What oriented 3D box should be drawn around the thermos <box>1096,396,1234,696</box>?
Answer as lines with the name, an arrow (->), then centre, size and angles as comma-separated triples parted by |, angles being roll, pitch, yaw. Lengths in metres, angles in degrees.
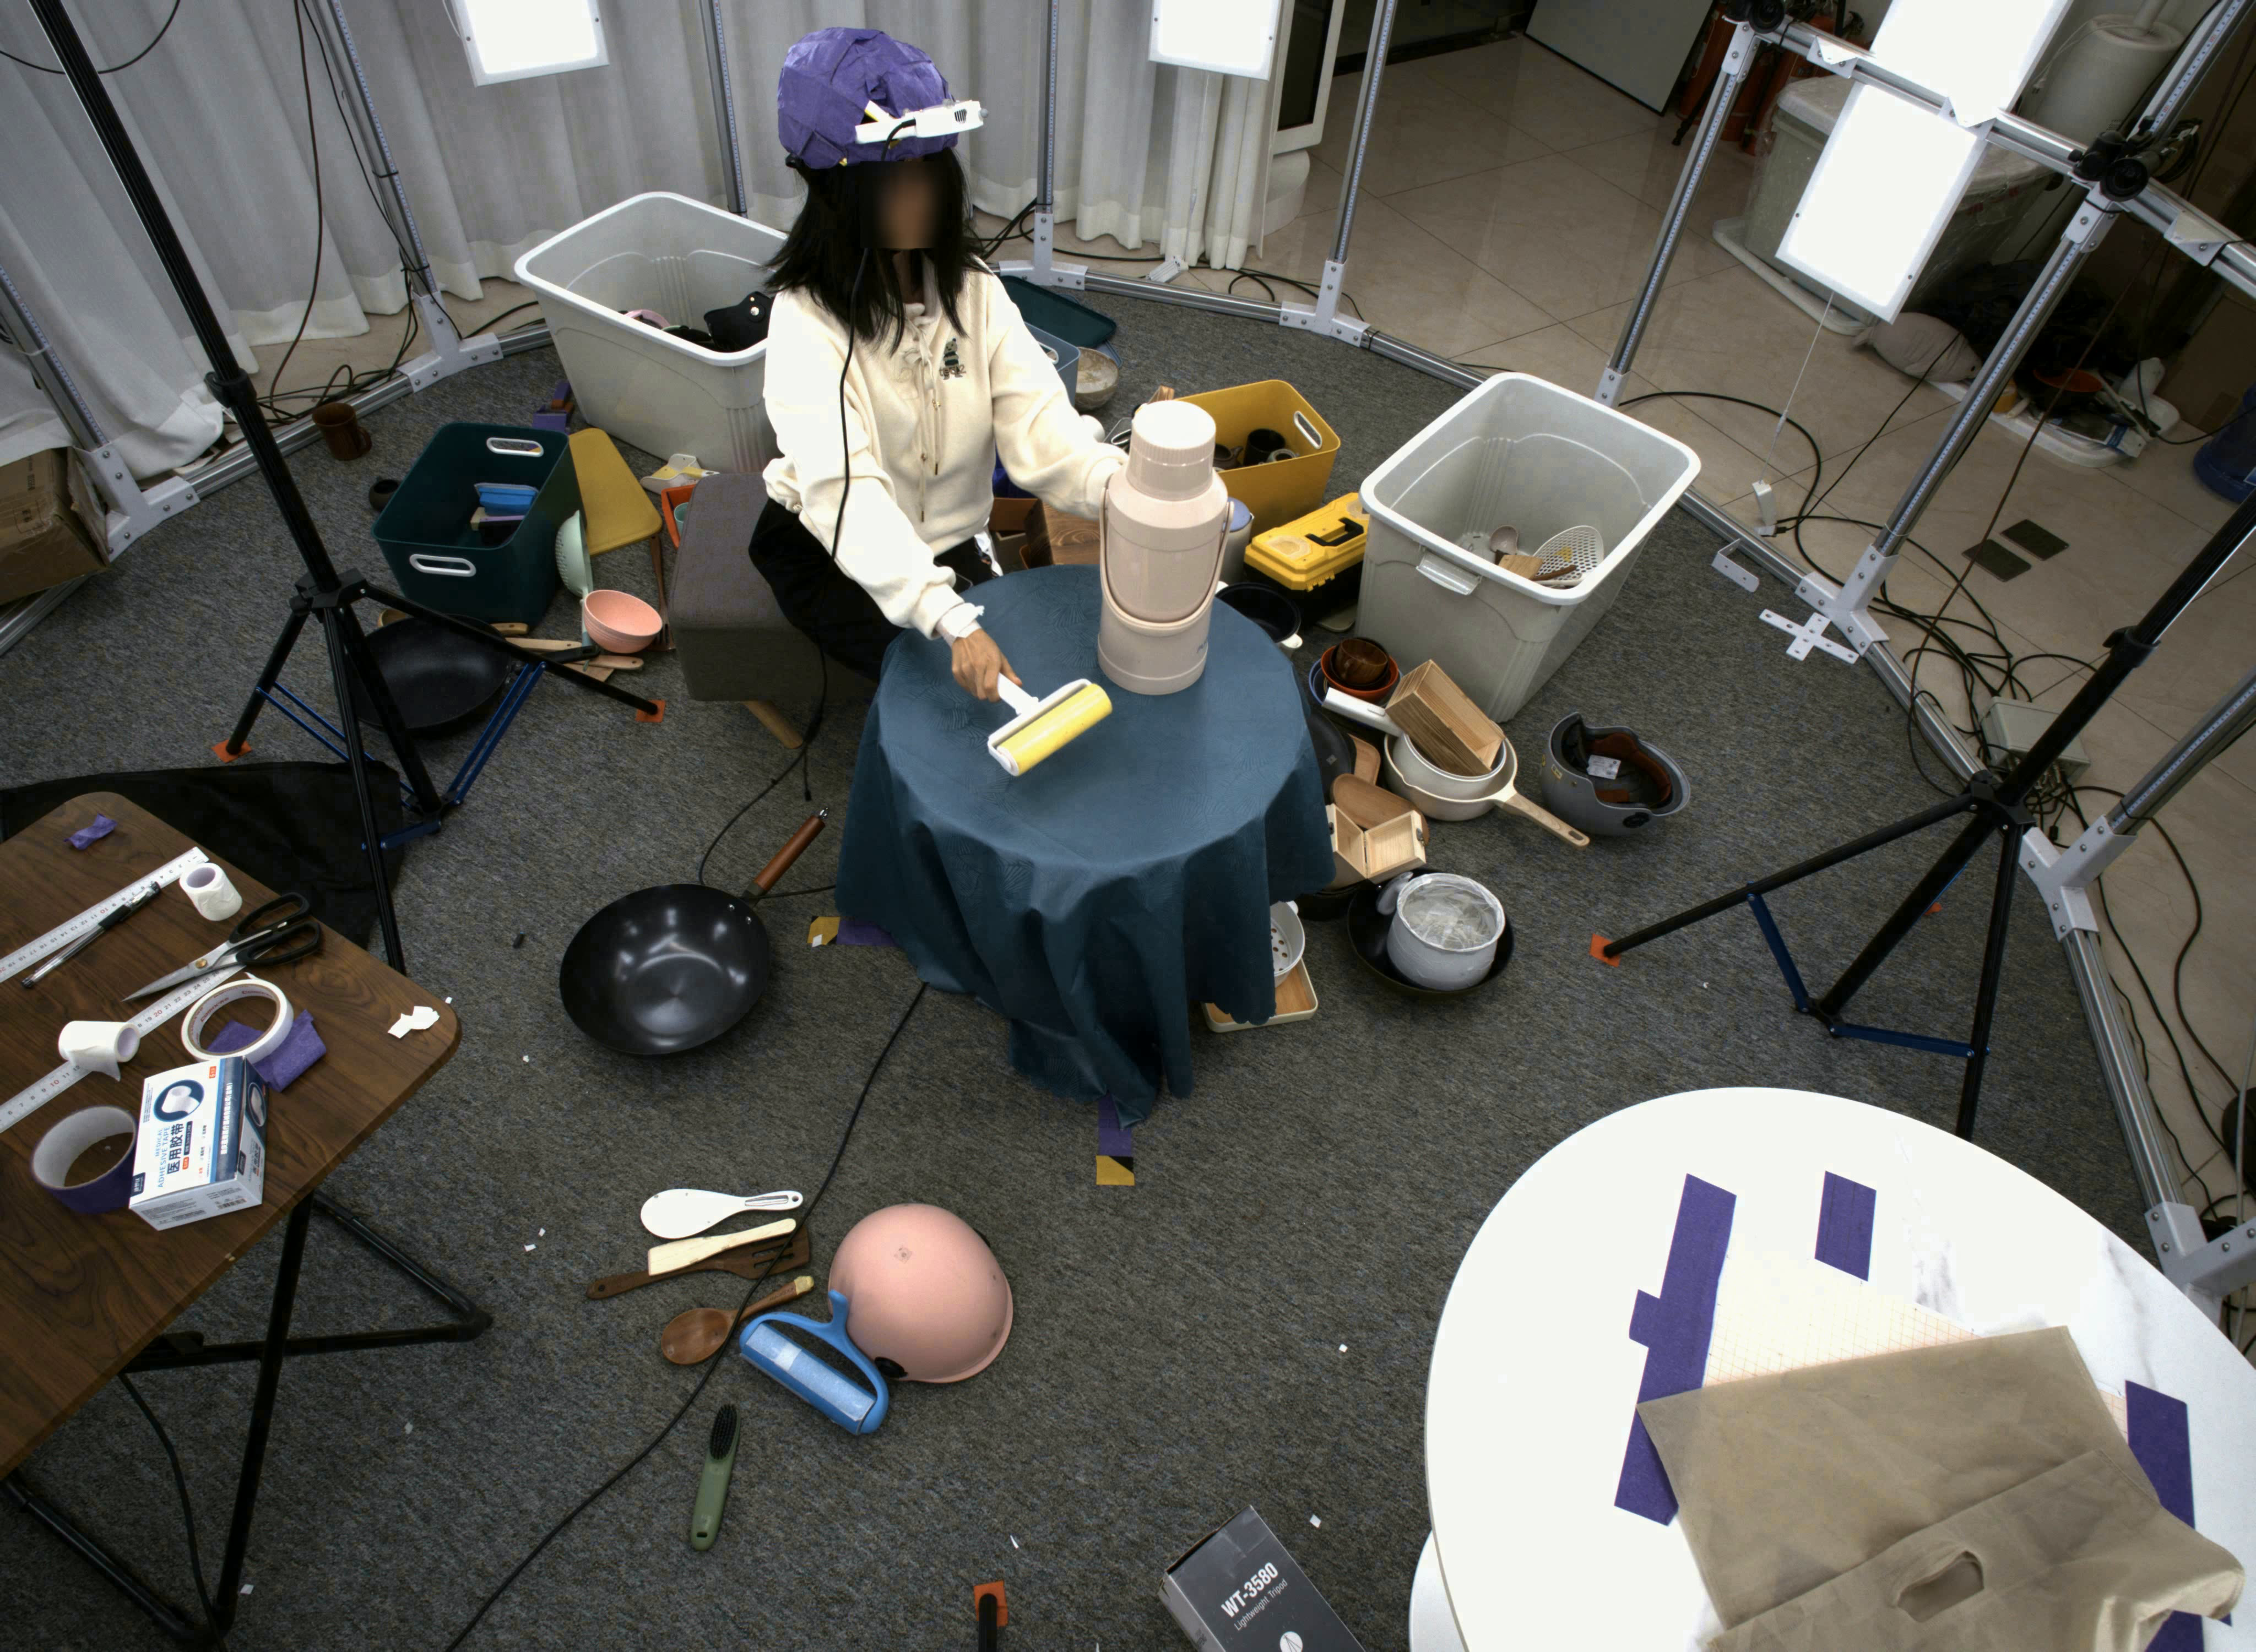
thermos -> 0.048, -0.382, 1.750 | 0.175, 0.396, 0.212 | 6, 49, 2

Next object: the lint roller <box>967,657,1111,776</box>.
lint roller -> -0.146, -0.173, 1.702 | 0.176, 0.050, 0.194 | -37, 68, -25
